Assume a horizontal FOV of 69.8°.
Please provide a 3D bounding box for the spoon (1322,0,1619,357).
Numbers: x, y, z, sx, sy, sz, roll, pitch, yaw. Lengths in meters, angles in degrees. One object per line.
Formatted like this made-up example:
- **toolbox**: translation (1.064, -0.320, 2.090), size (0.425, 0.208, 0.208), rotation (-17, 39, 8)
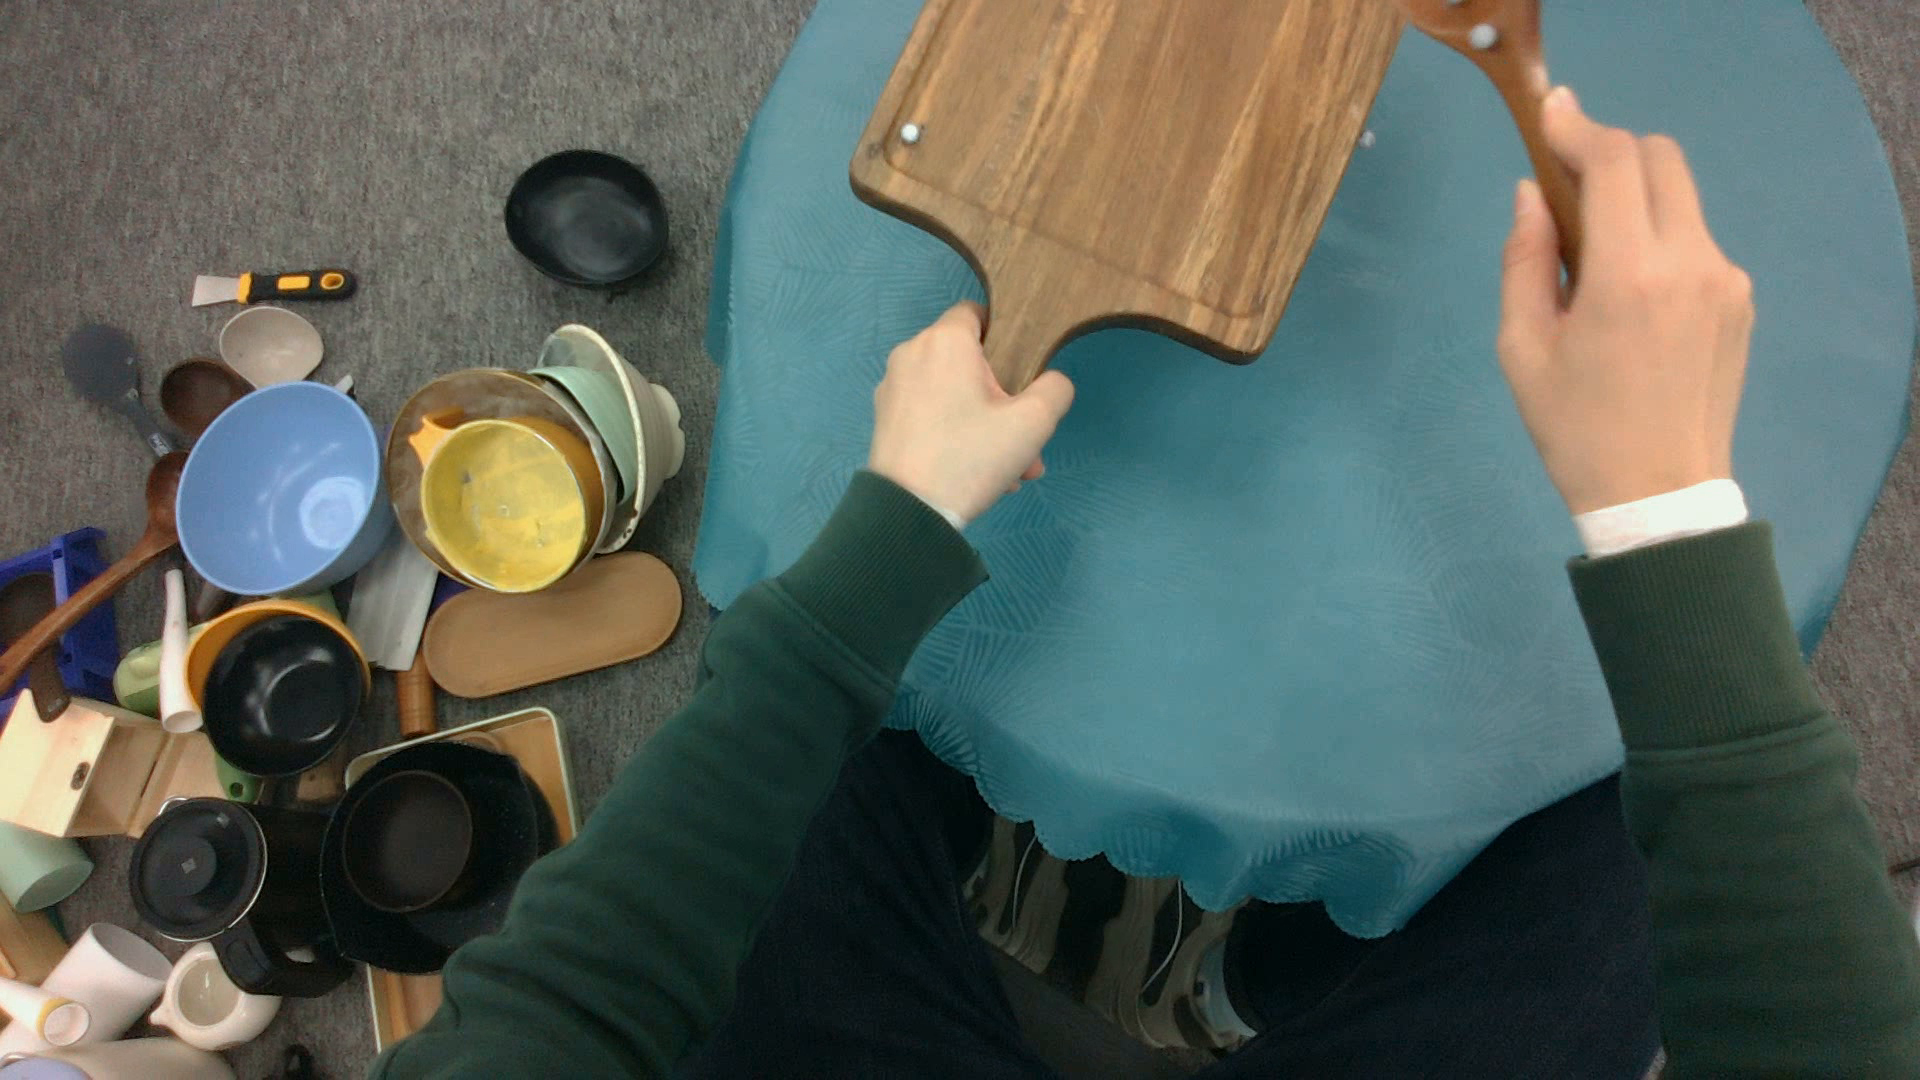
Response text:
- **spoon**: translation (0.169, -0.160, 0.466), size (0.017, 0.075, 0.216), rotation (-17, 79, -20)

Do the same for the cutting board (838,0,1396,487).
- **cutting board**: translation (0.063, -0.185, 0.607), size (0.201, 0.023, 0.353), rotation (24, 80, 0)
